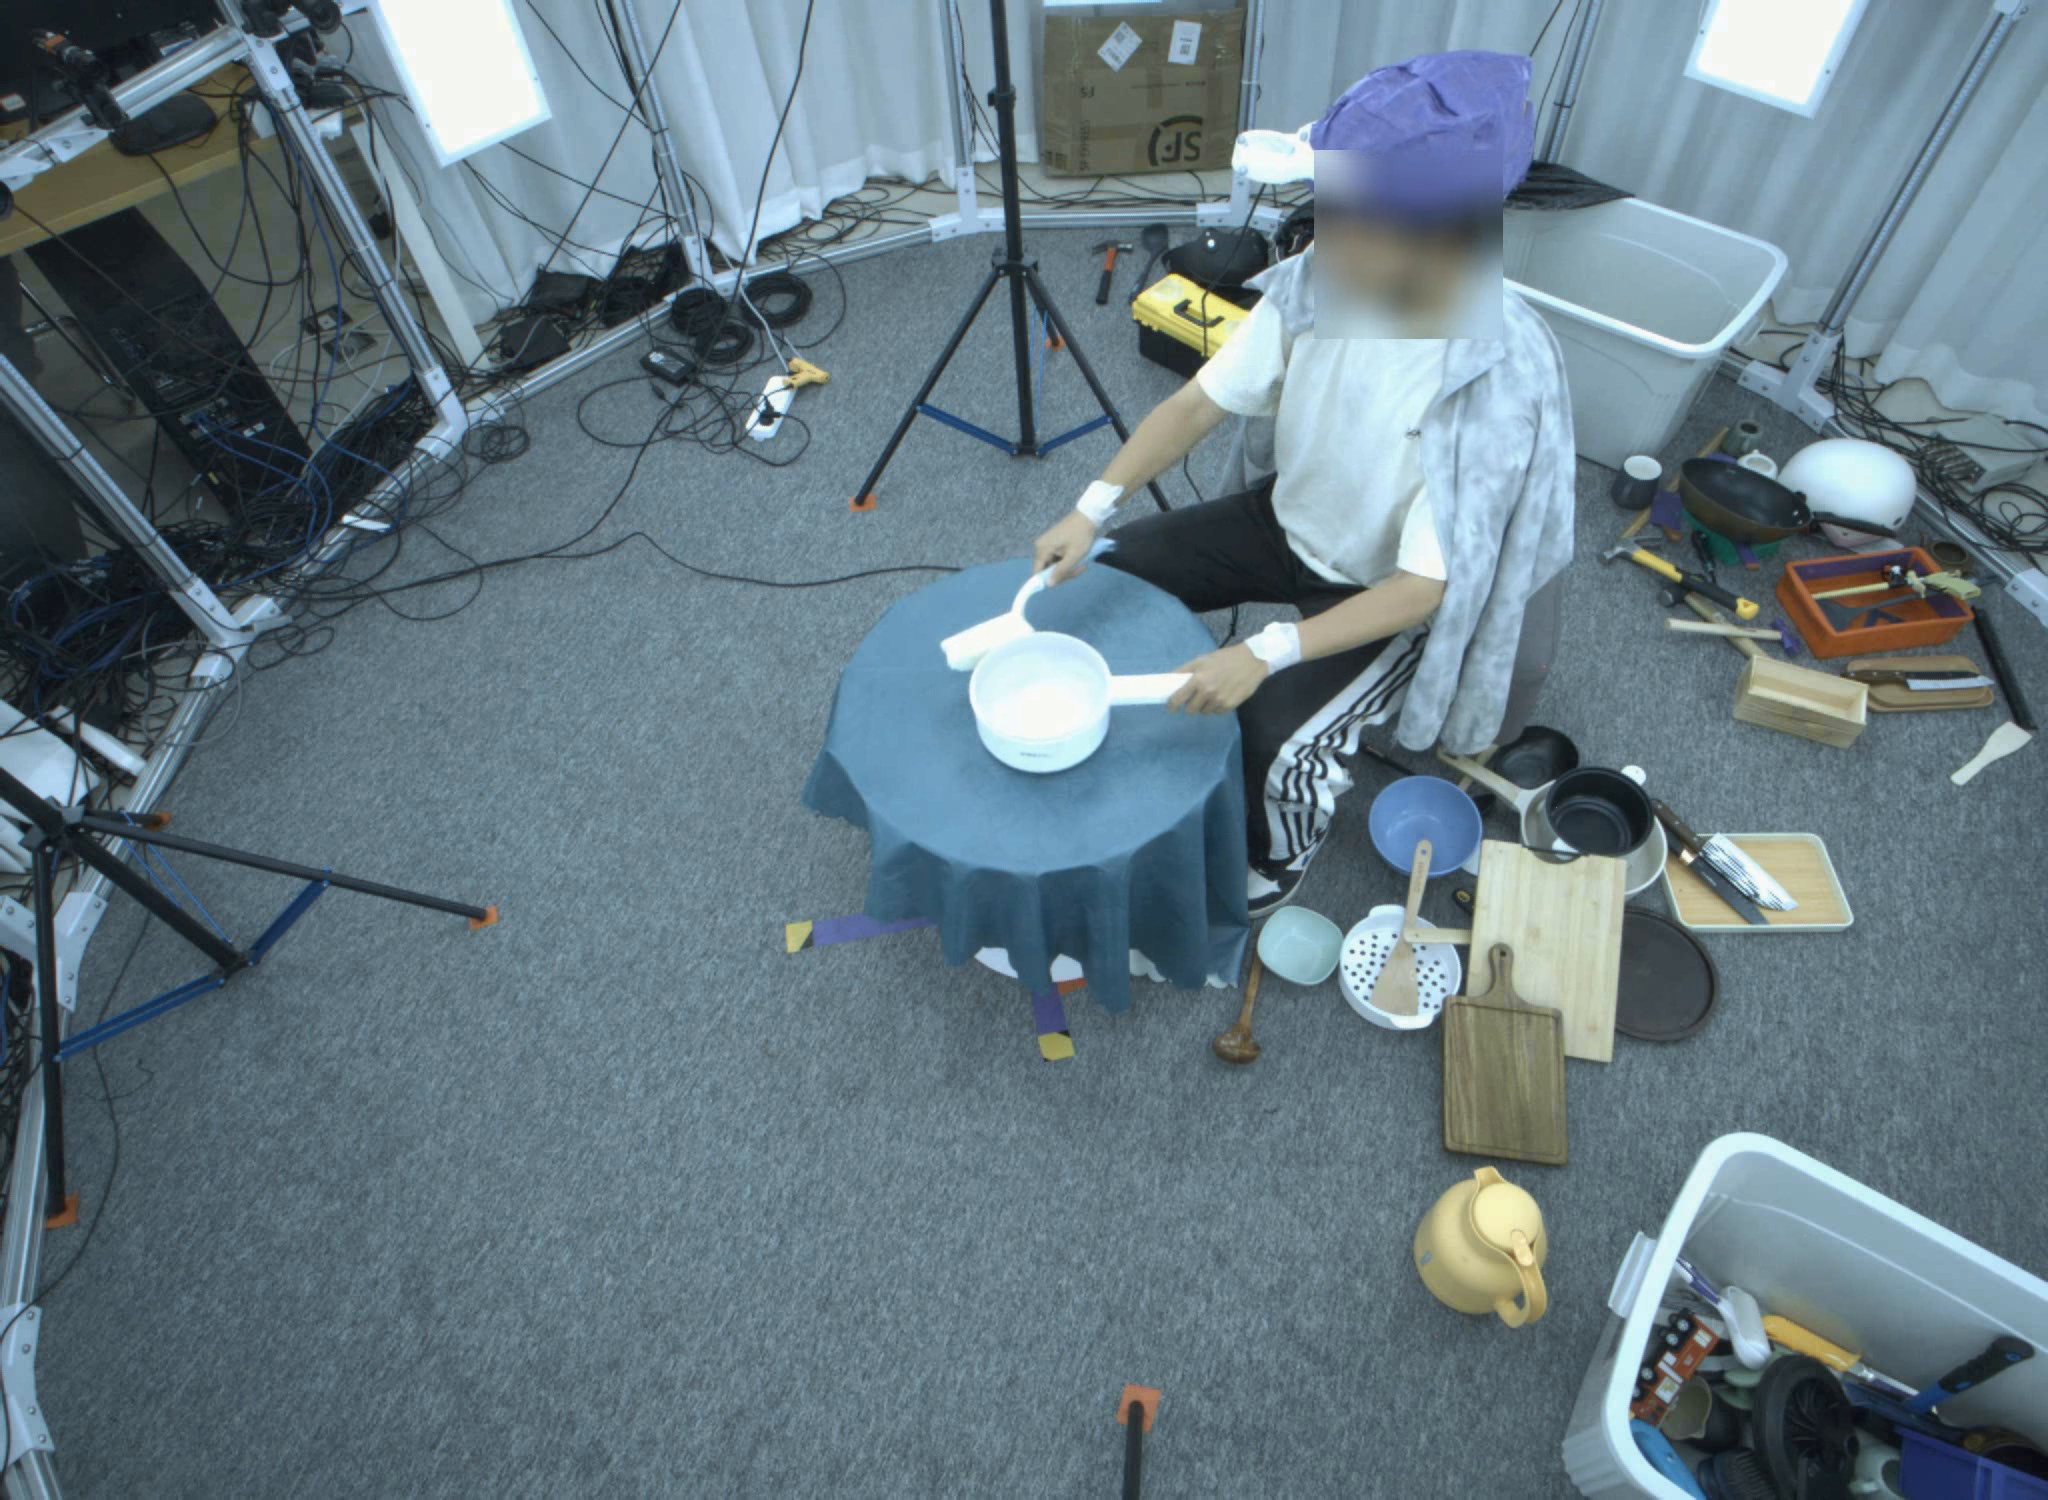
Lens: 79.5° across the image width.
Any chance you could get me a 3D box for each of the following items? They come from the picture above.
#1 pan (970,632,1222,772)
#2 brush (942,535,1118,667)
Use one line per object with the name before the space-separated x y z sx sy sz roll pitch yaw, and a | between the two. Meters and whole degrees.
pan | 0.103 -0.066 1.770 0.355 0.103 0.199 -2 55 1
brush | 0.028 -0.214 1.824 0.327 0.085 0.081 -34 20 -16
